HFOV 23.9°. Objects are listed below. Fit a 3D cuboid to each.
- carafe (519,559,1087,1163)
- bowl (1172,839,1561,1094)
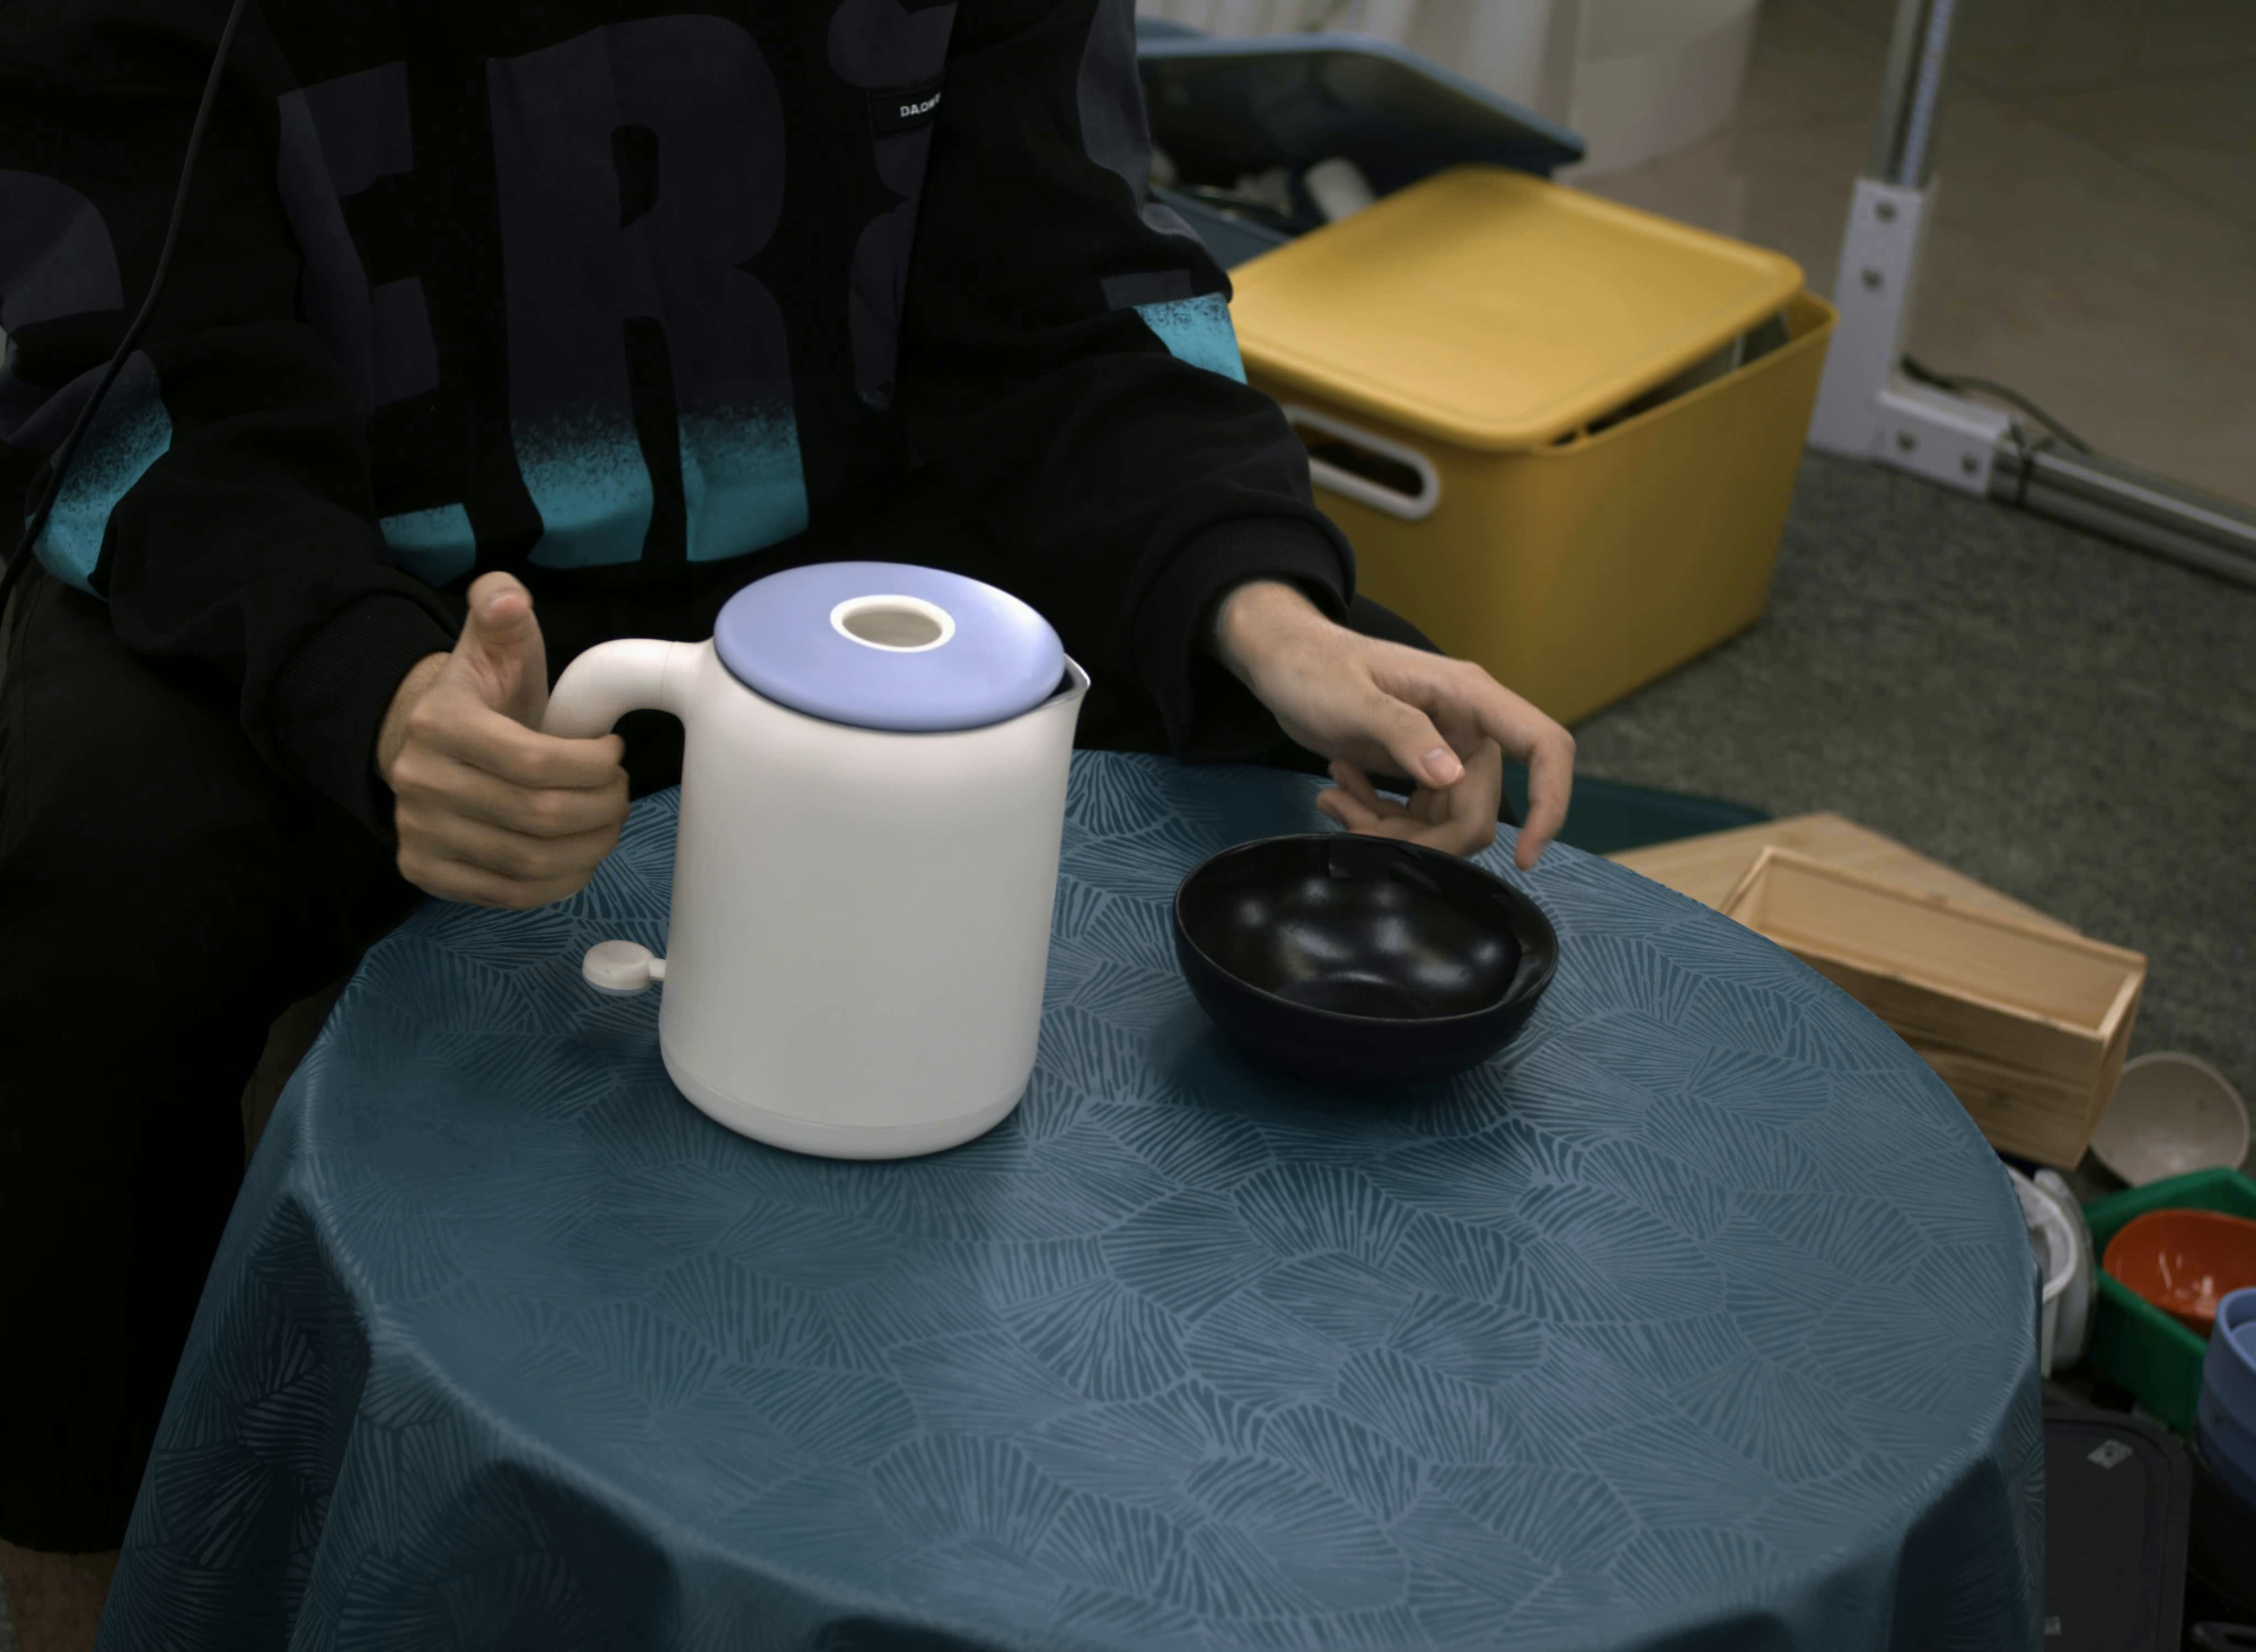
[{"bbox_3d":[-0.113,0.008,1.813,0.191,0.182,0.133,6,25,5],"label":"carafe"},{"bbox_3d":[0.083,0.057,1.895,0.139,0.049,0.141,4,26,-2],"label":"bowl"}]
